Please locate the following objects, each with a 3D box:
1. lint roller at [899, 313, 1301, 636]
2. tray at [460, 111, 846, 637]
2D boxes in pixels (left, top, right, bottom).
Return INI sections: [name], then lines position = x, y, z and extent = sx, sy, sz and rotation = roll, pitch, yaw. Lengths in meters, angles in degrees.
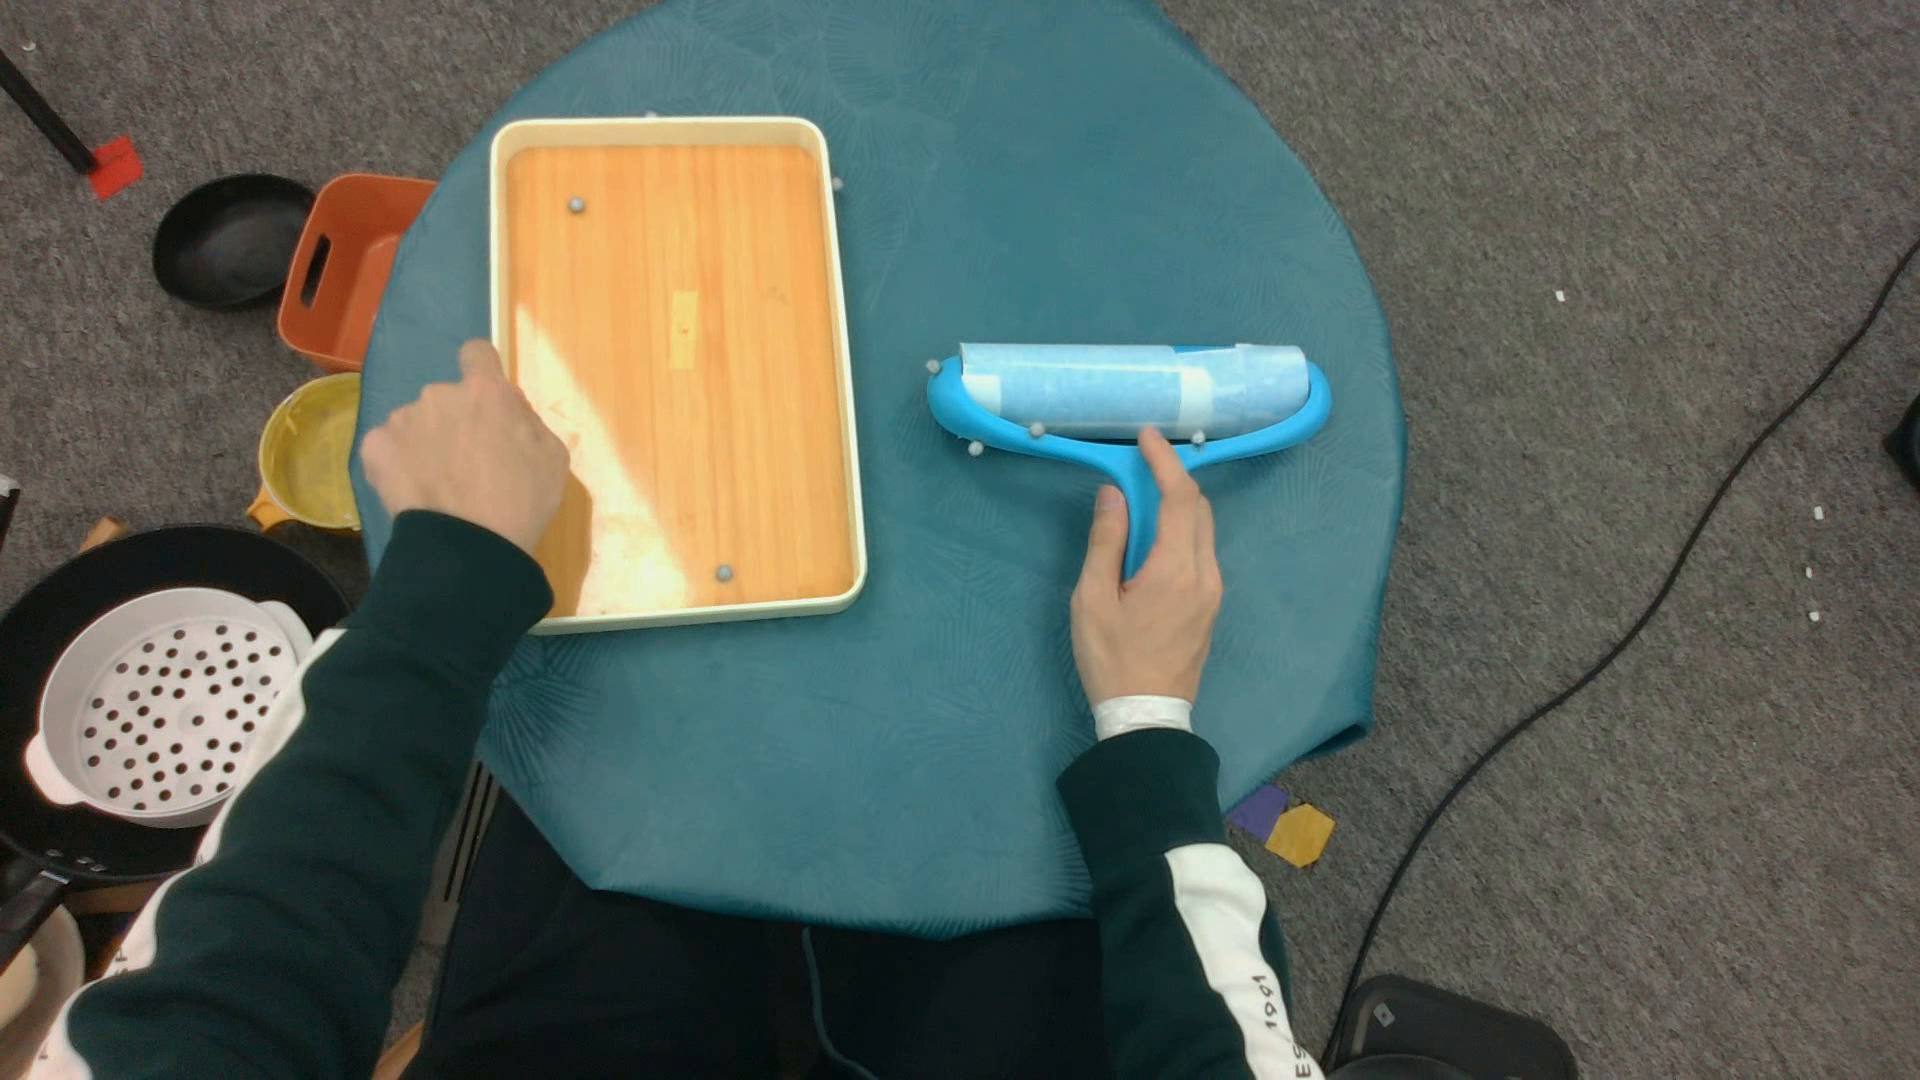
[lint roller]
position = 0.088, -0.041, 0.763
extent = 0.229, 0.067, 0.180
rotation = -5, 72, -9
[tray]
position = -0.173, -0.101, 0.768
extent = 0.192, 0.027, 0.301
rotation = -5, 73, -9
